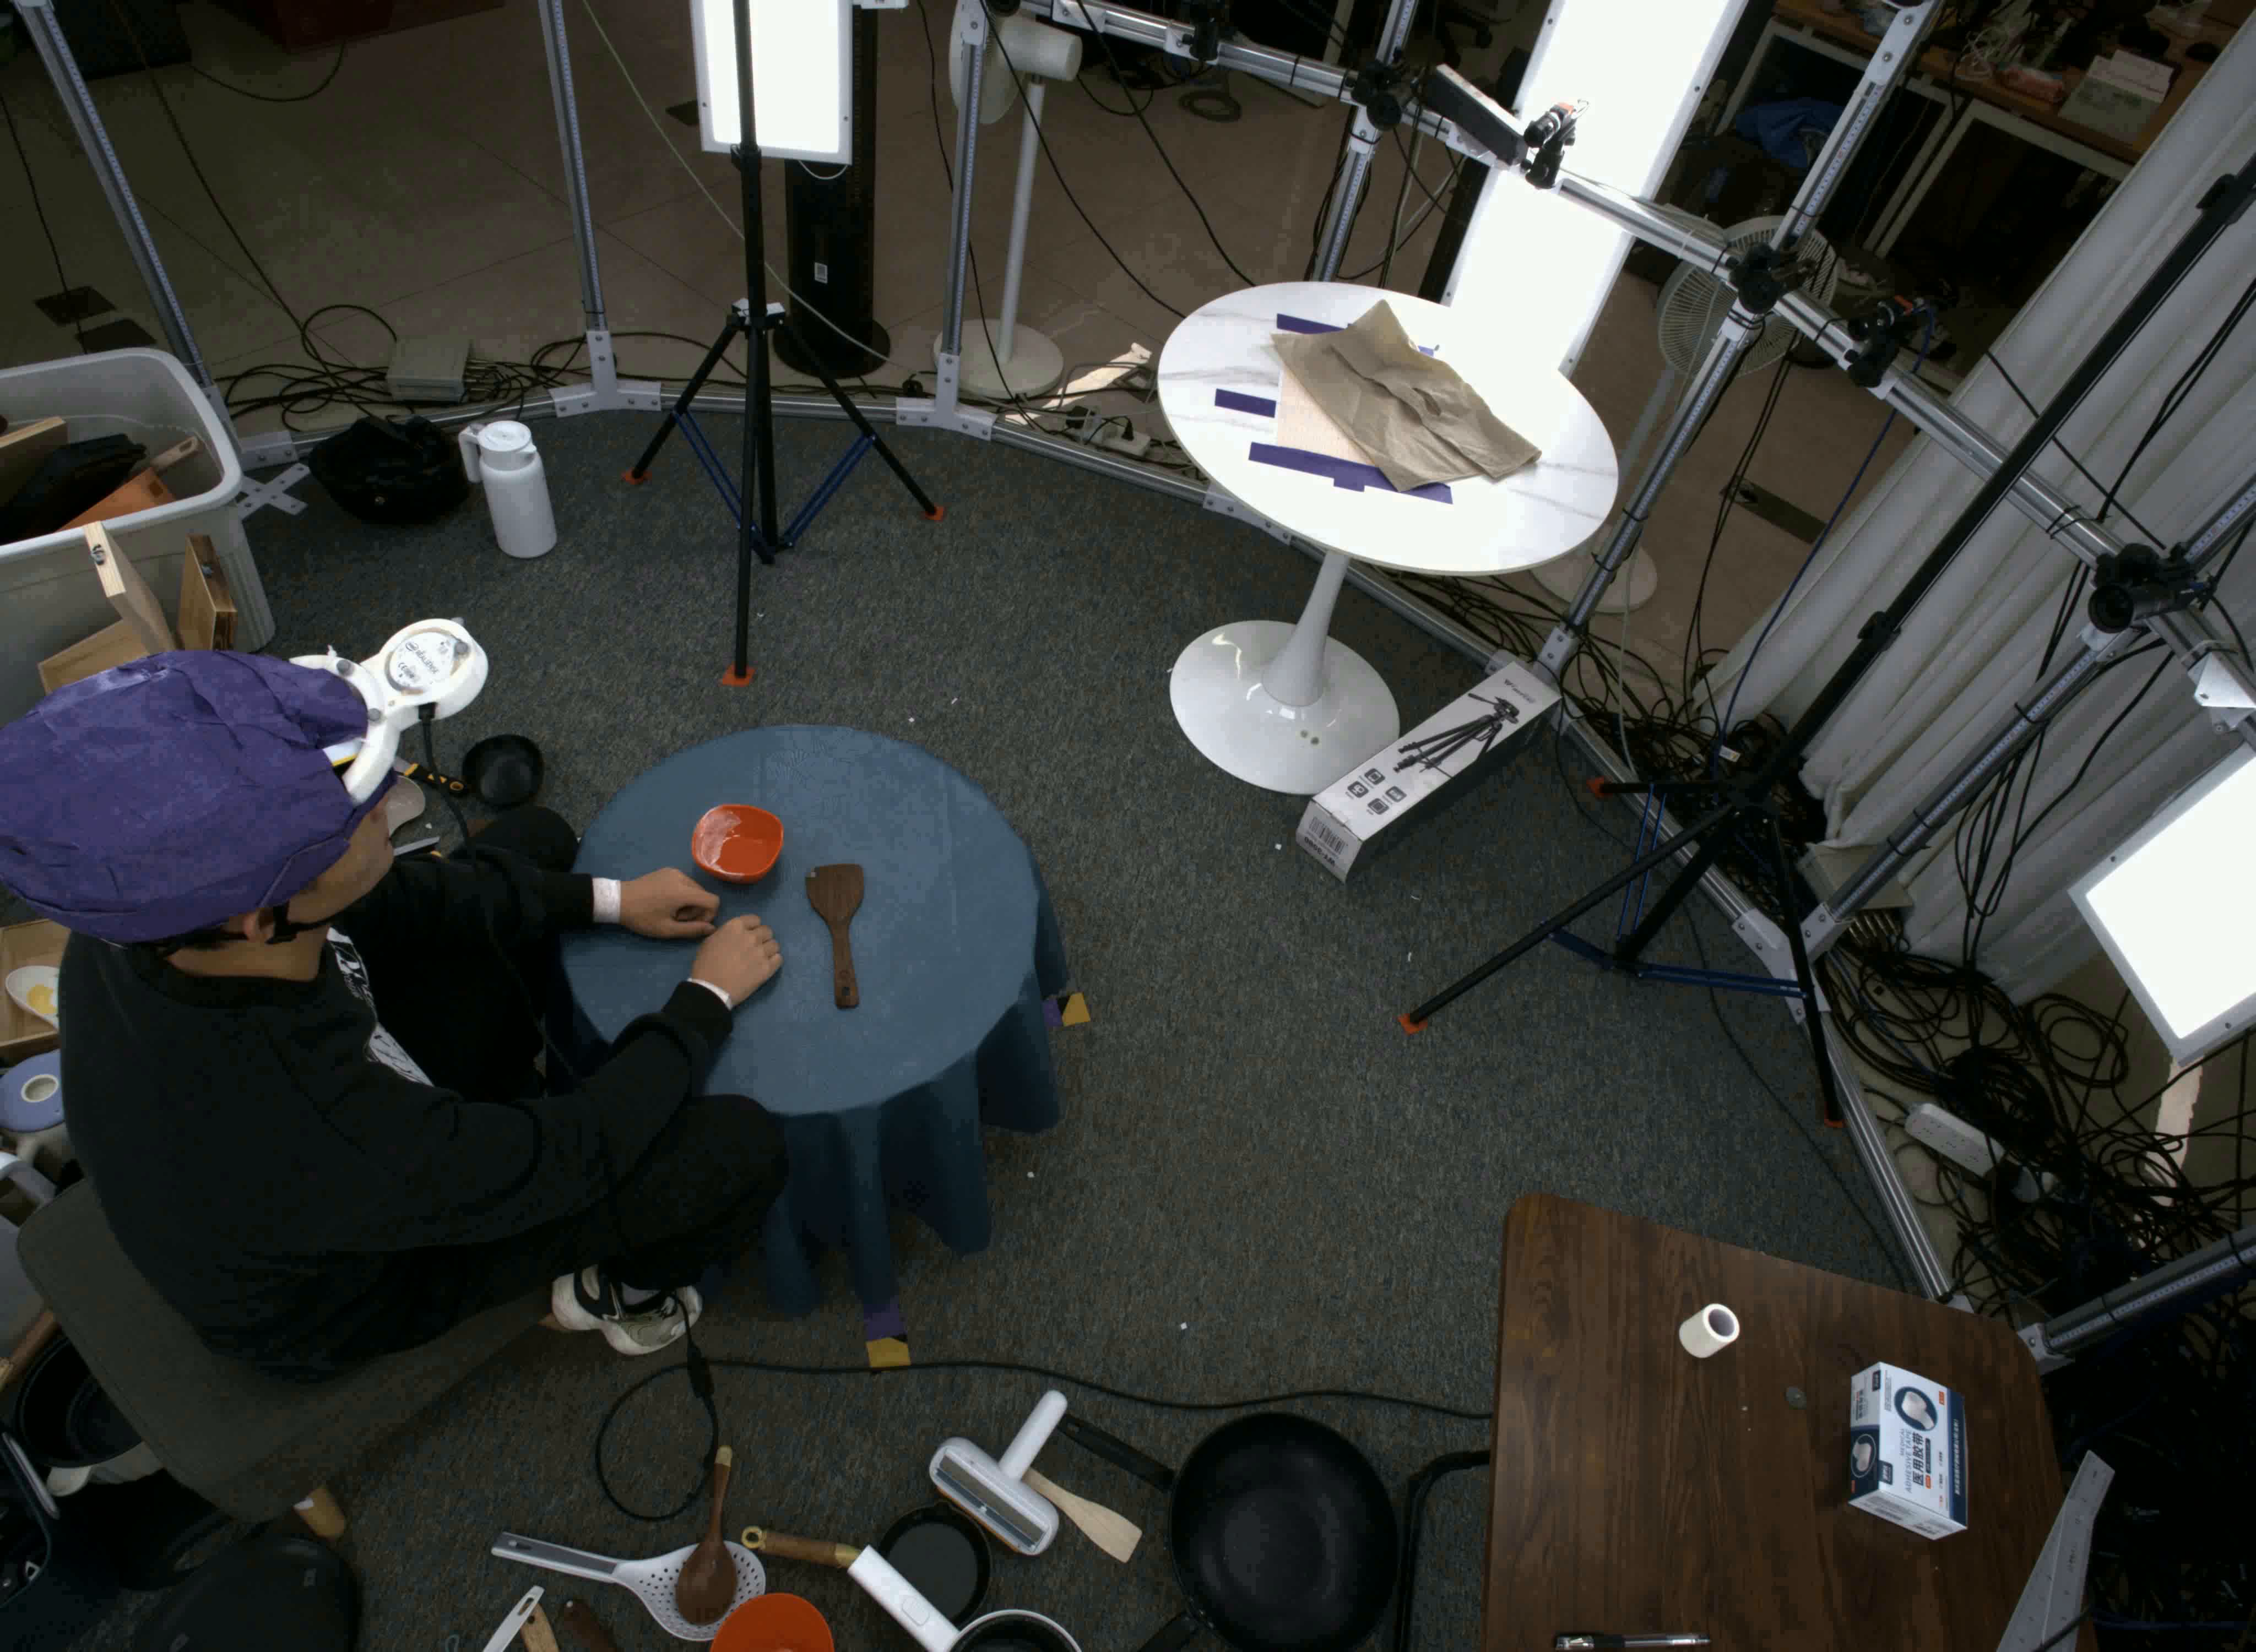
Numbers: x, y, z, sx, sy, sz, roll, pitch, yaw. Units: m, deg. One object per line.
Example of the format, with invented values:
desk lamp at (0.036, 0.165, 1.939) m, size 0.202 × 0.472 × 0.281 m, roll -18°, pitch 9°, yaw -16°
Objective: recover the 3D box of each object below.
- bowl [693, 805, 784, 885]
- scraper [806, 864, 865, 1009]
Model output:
bowl at (-0.498, 0.031, 1.656) m, size 0.119 × 0.052 × 0.117 m, roll 9°, pitch 52°, yaw -10°
scraper at (-0.362, 0.136, 1.639) m, size 0.076 × 0.011 × 0.206 m, roll -4°, pitch 56°, yaw -16°
